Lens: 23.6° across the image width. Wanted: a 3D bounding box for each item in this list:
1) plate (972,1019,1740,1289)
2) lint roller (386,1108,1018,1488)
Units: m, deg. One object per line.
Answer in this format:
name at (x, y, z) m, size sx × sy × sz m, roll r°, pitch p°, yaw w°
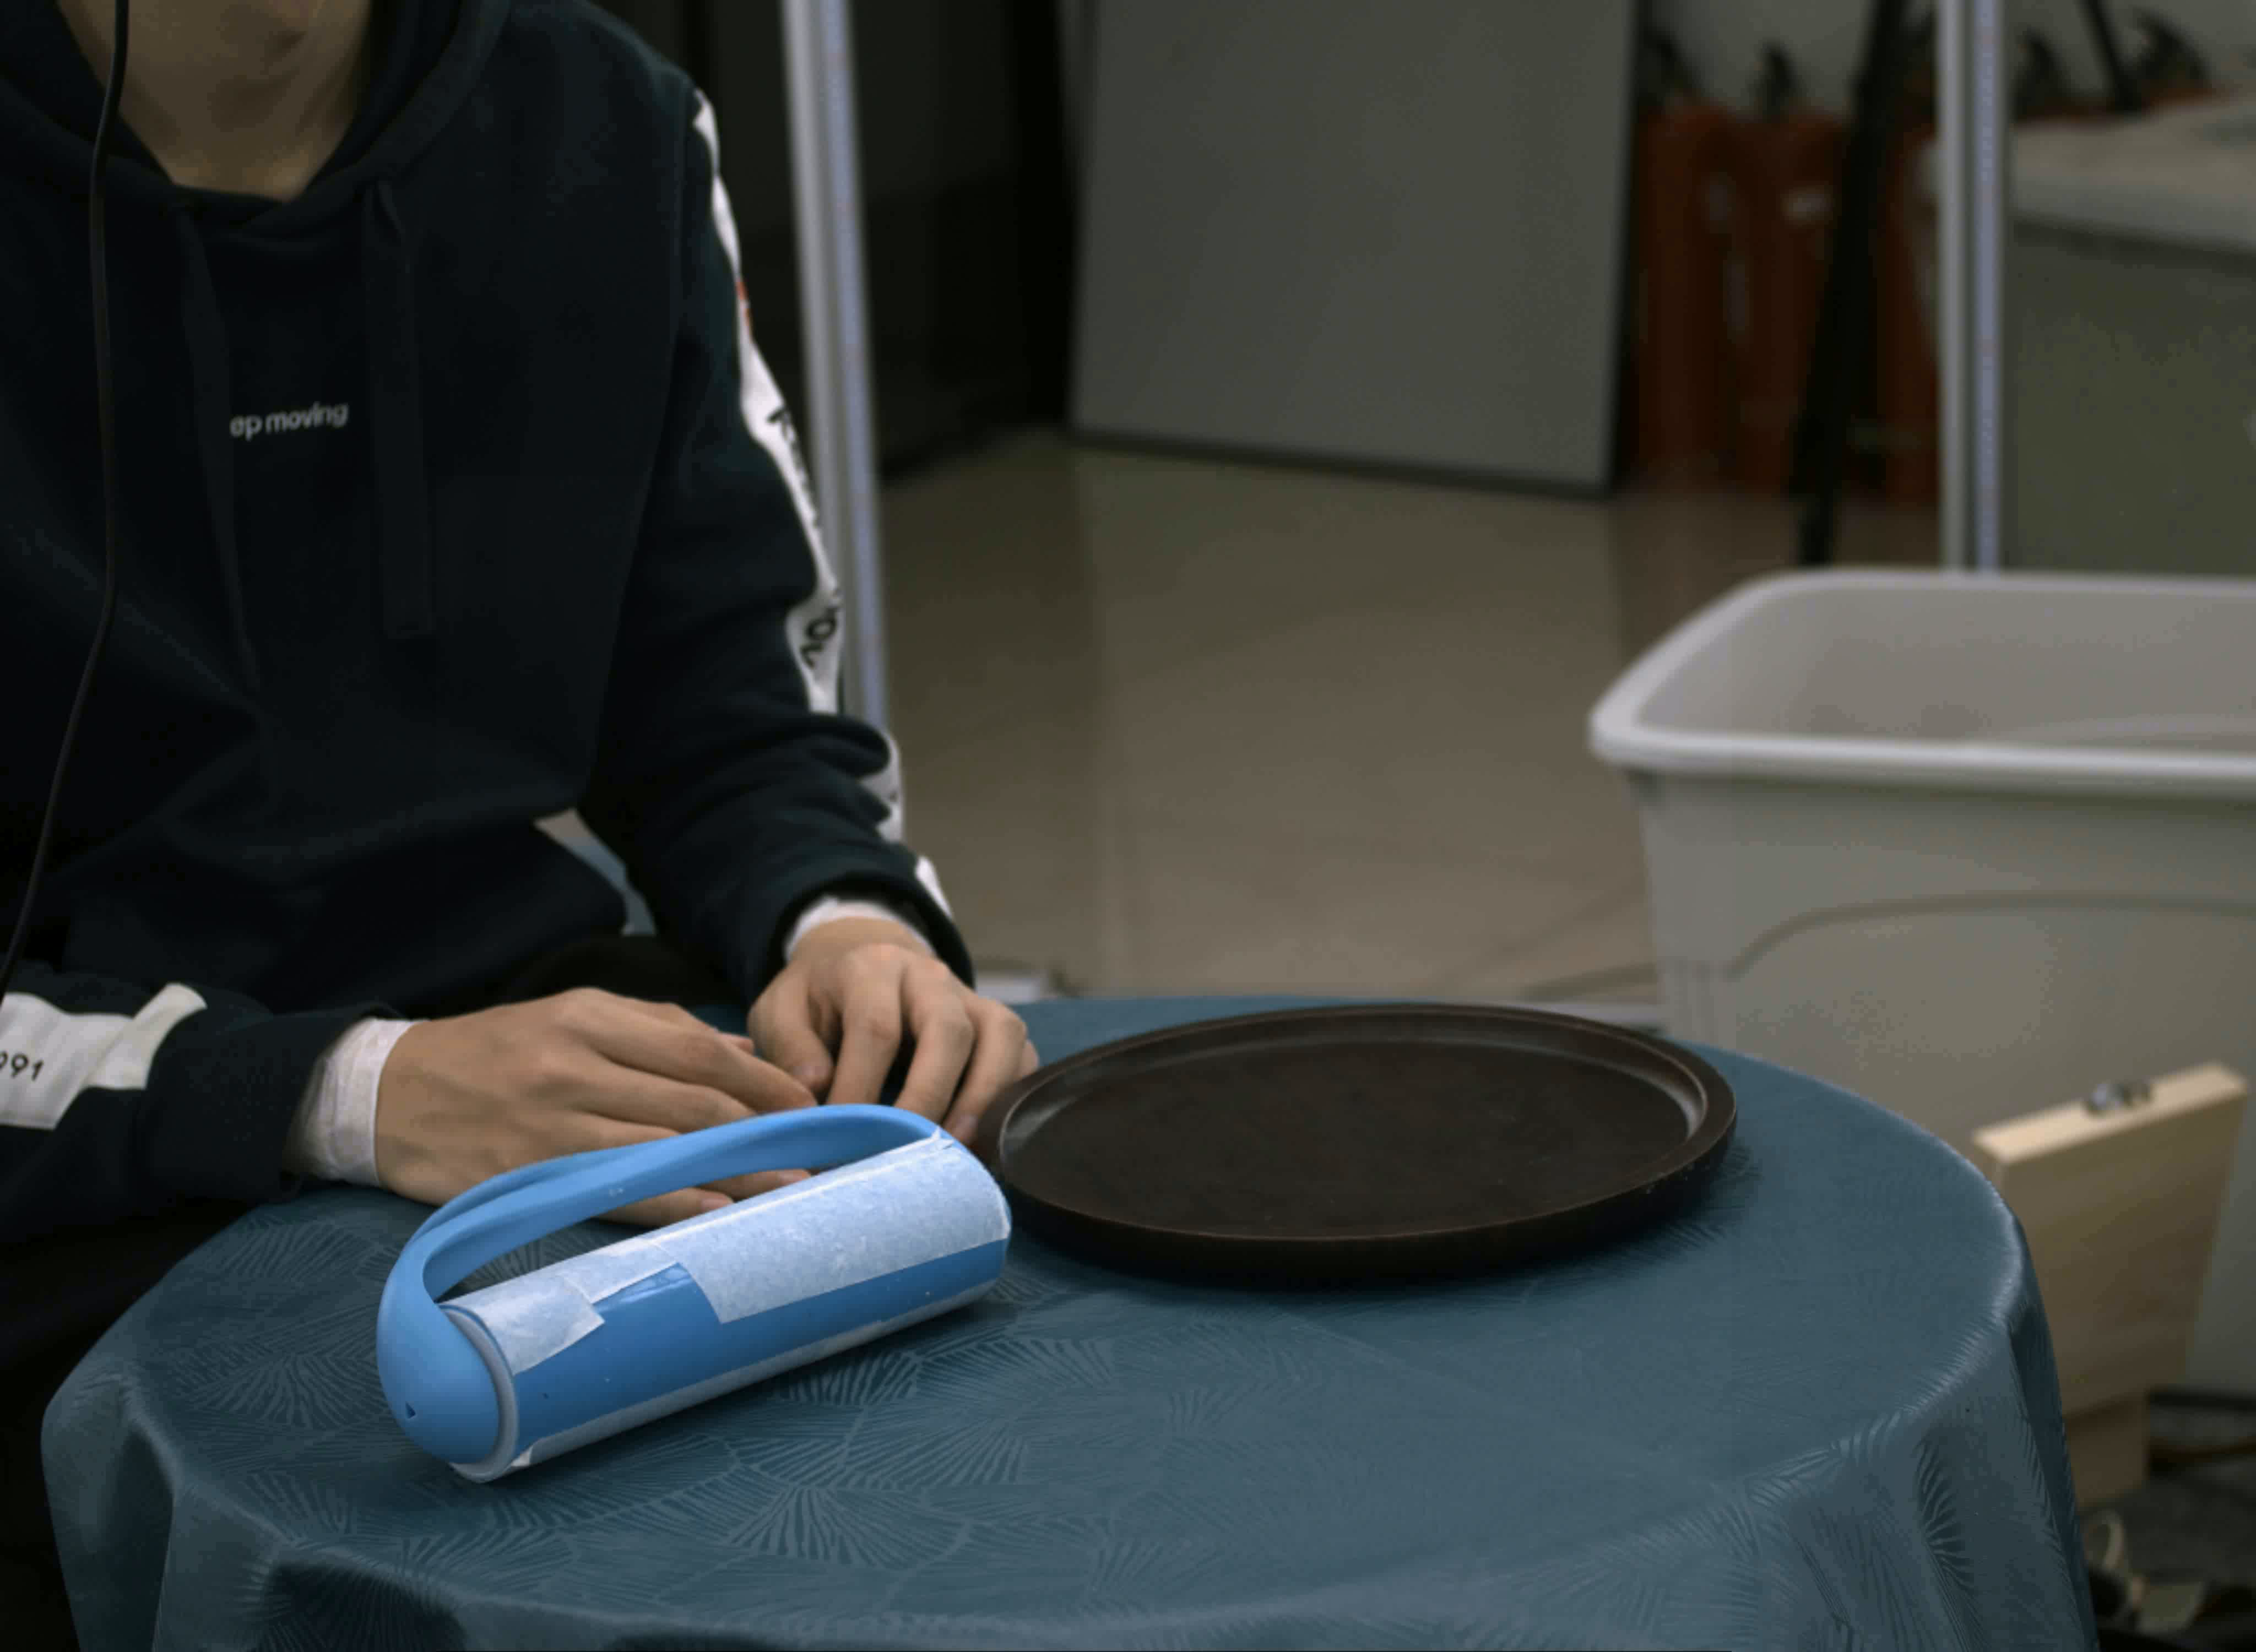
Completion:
plate at (0.075, 0.105, 1.768) m, size 0.251 × 0.029 × 0.255 m, roll -3°, pitch 14°, yaw 0°
lint roller at (-0.163, 0.134, 1.648) m, size 0.182 × 0.068 × 0.224 m, roll 10°, pitch 21°, yaw 43°
